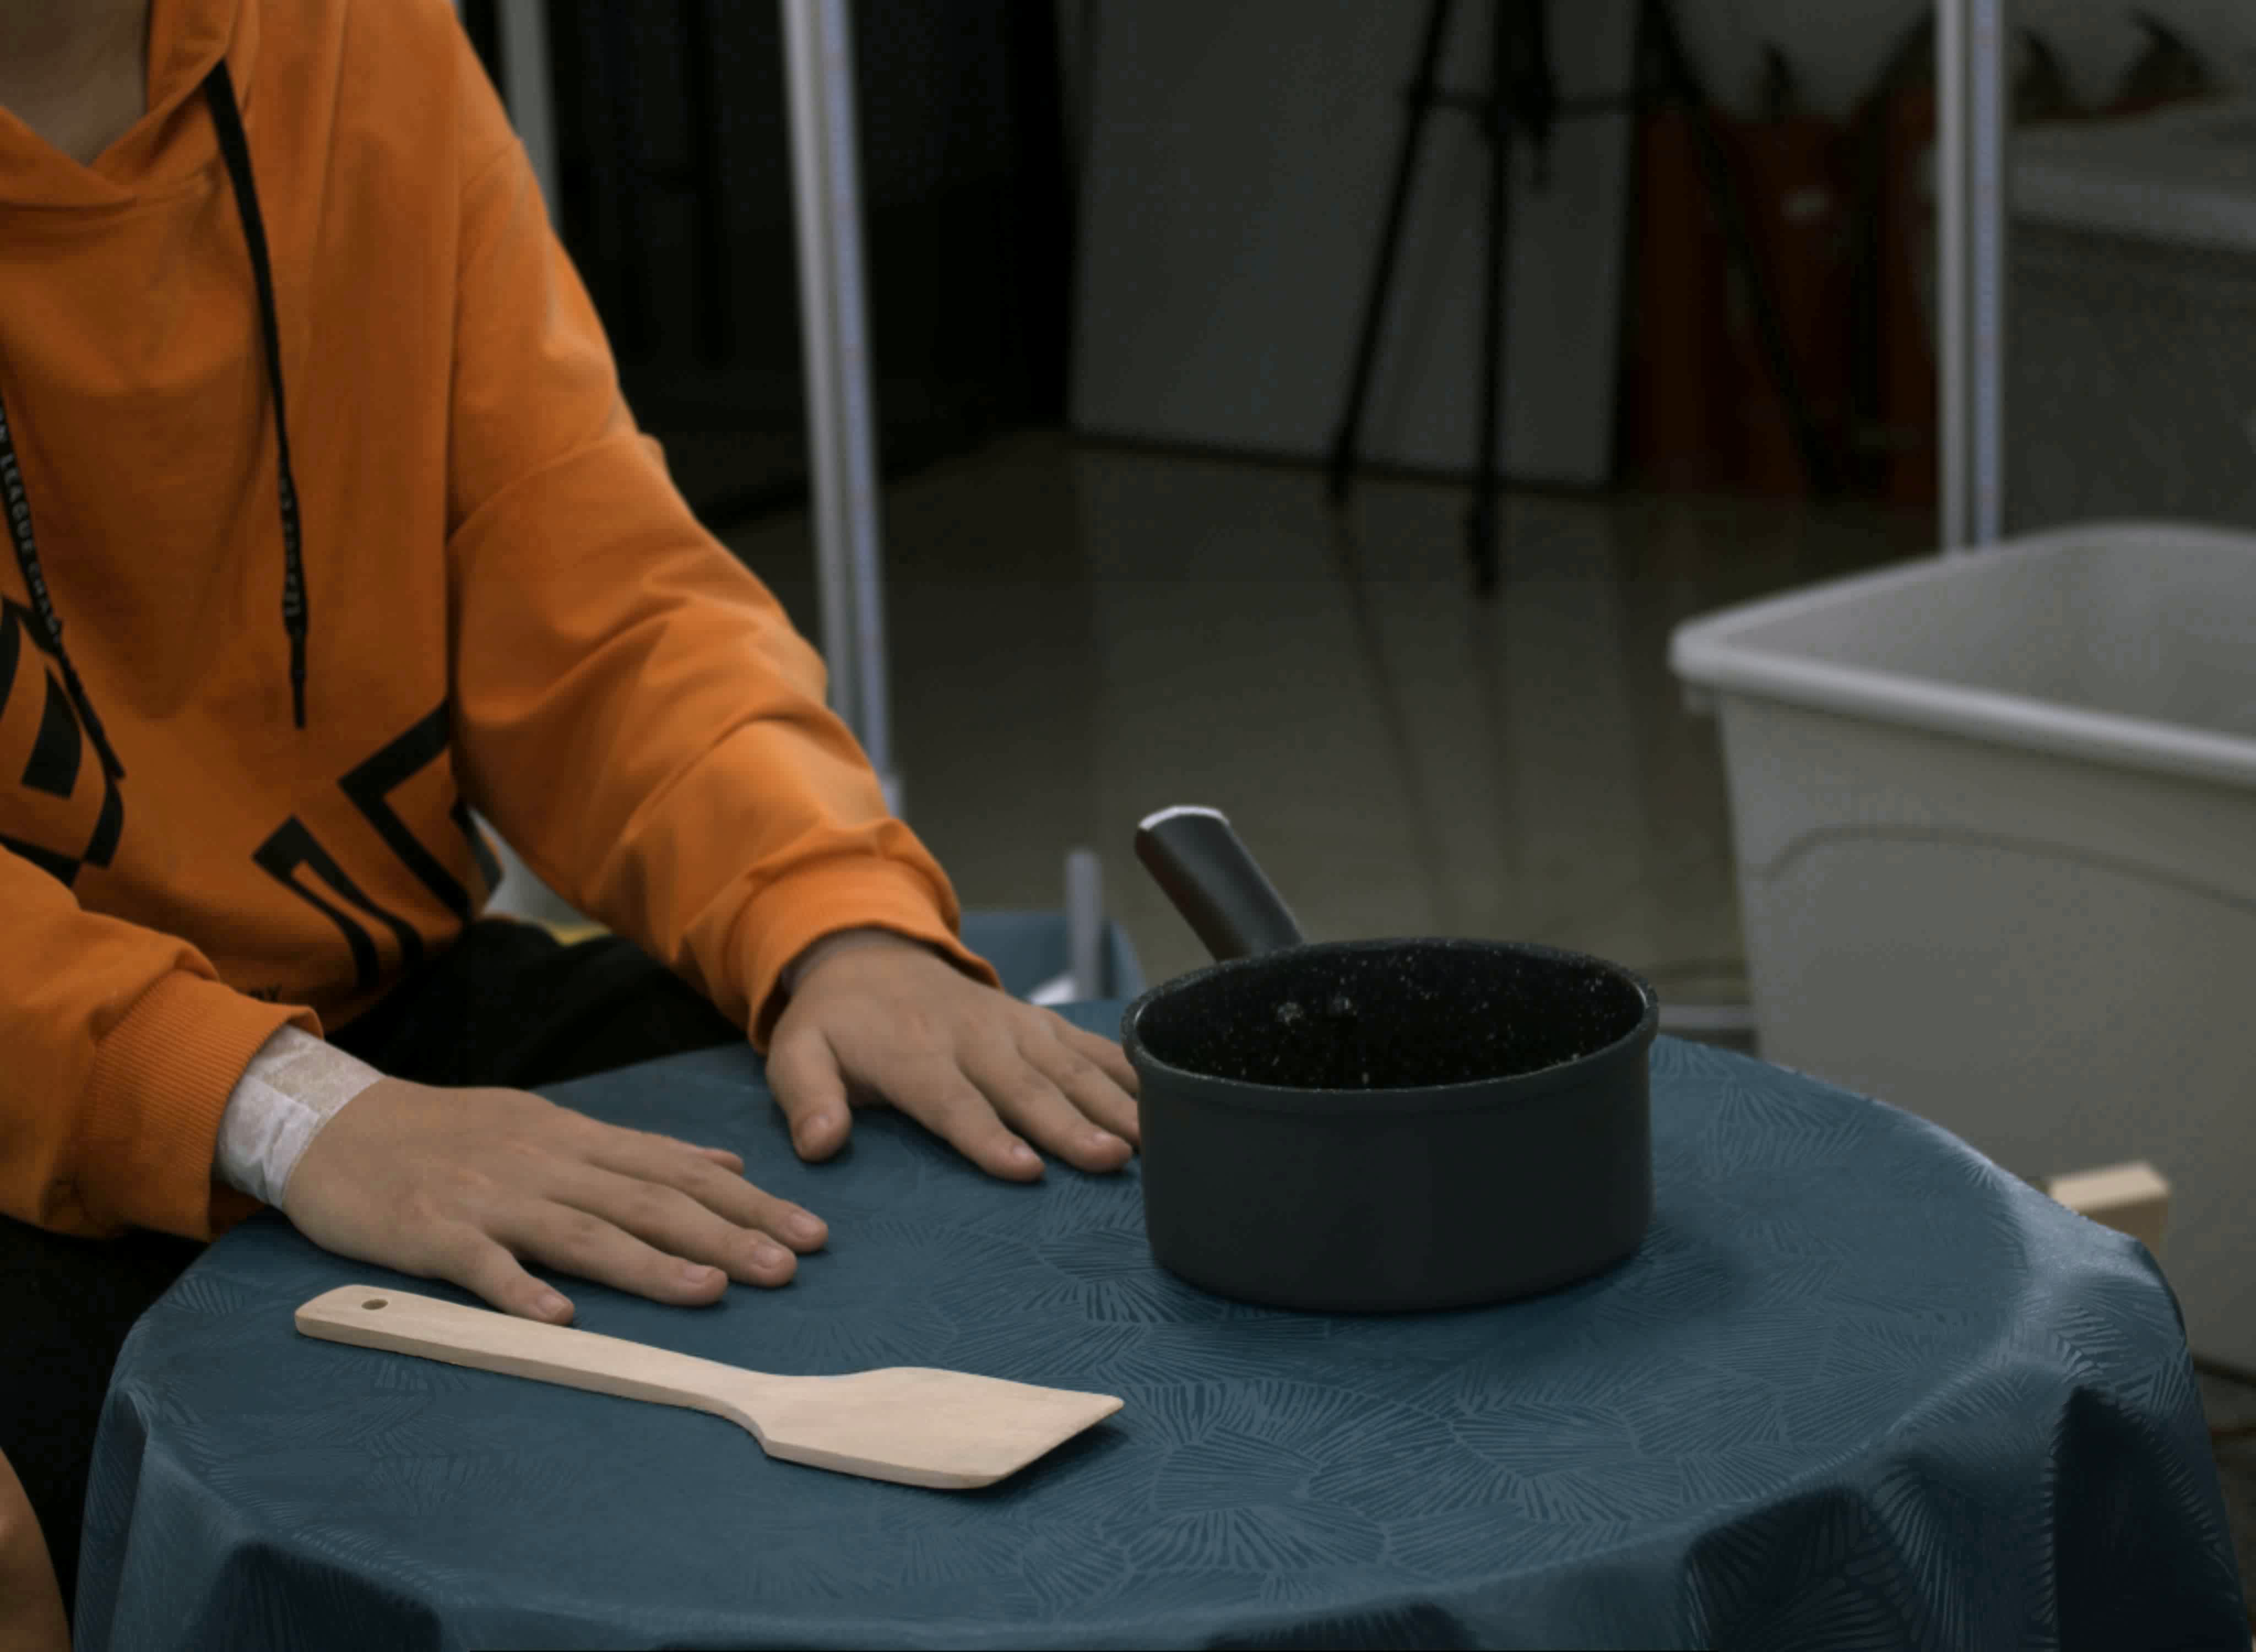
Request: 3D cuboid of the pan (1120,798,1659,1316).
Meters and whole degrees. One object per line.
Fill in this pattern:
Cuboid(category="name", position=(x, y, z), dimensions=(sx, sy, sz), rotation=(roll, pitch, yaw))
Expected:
Cuboid(category="pan", position=(0.066, 0.072, 1.774), dimensions=(0.169, 0.087, 0.331), rotation=(-6, 15, -11))

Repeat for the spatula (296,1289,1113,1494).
Cuboid(category="spatula", position=(-0.138, 0.165, 1.615), dimensions=(0.295, 0.011, 0.071), rotation=(6, 21, 36))
